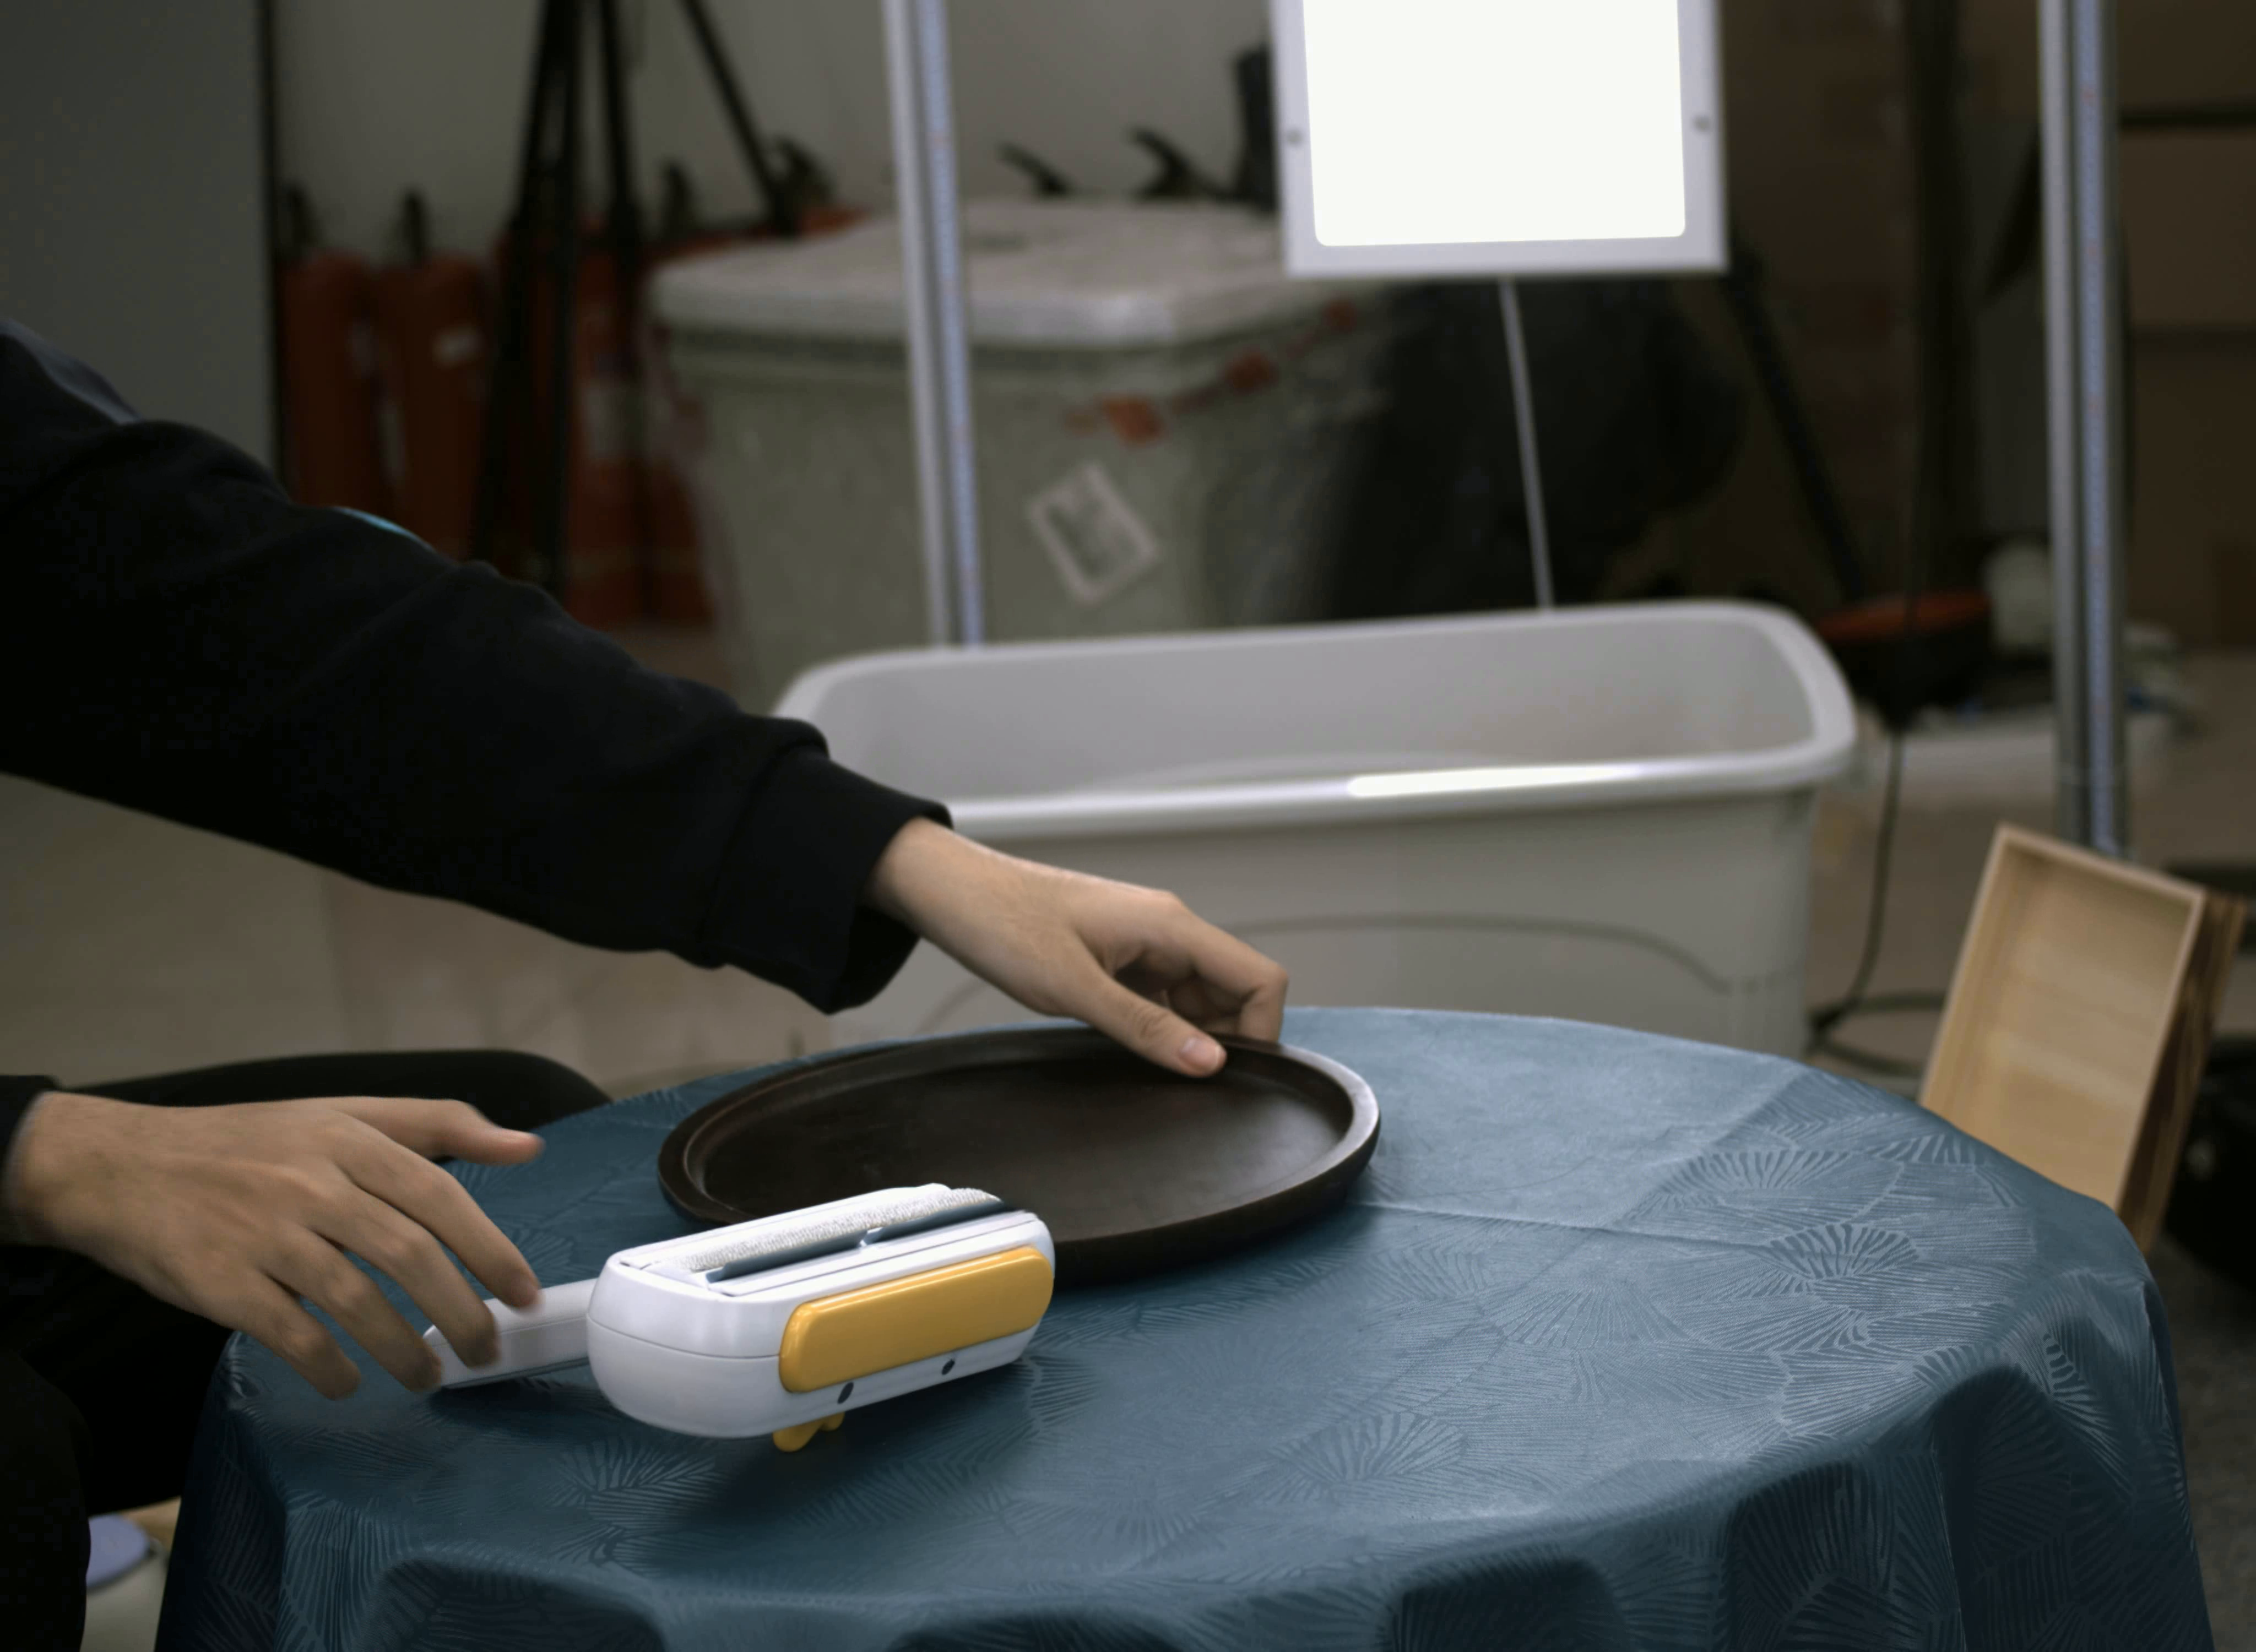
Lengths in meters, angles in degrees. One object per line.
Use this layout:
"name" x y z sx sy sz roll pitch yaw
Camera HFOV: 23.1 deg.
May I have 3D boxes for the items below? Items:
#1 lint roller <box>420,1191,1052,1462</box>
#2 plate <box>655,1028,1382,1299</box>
"lint roller" -0.142 0.151 1.706 0.196 0.074 0.188 3 11 36
"plate" -0.037 0.116 1.907 0.254 0.029 0.254 -6 13 0
